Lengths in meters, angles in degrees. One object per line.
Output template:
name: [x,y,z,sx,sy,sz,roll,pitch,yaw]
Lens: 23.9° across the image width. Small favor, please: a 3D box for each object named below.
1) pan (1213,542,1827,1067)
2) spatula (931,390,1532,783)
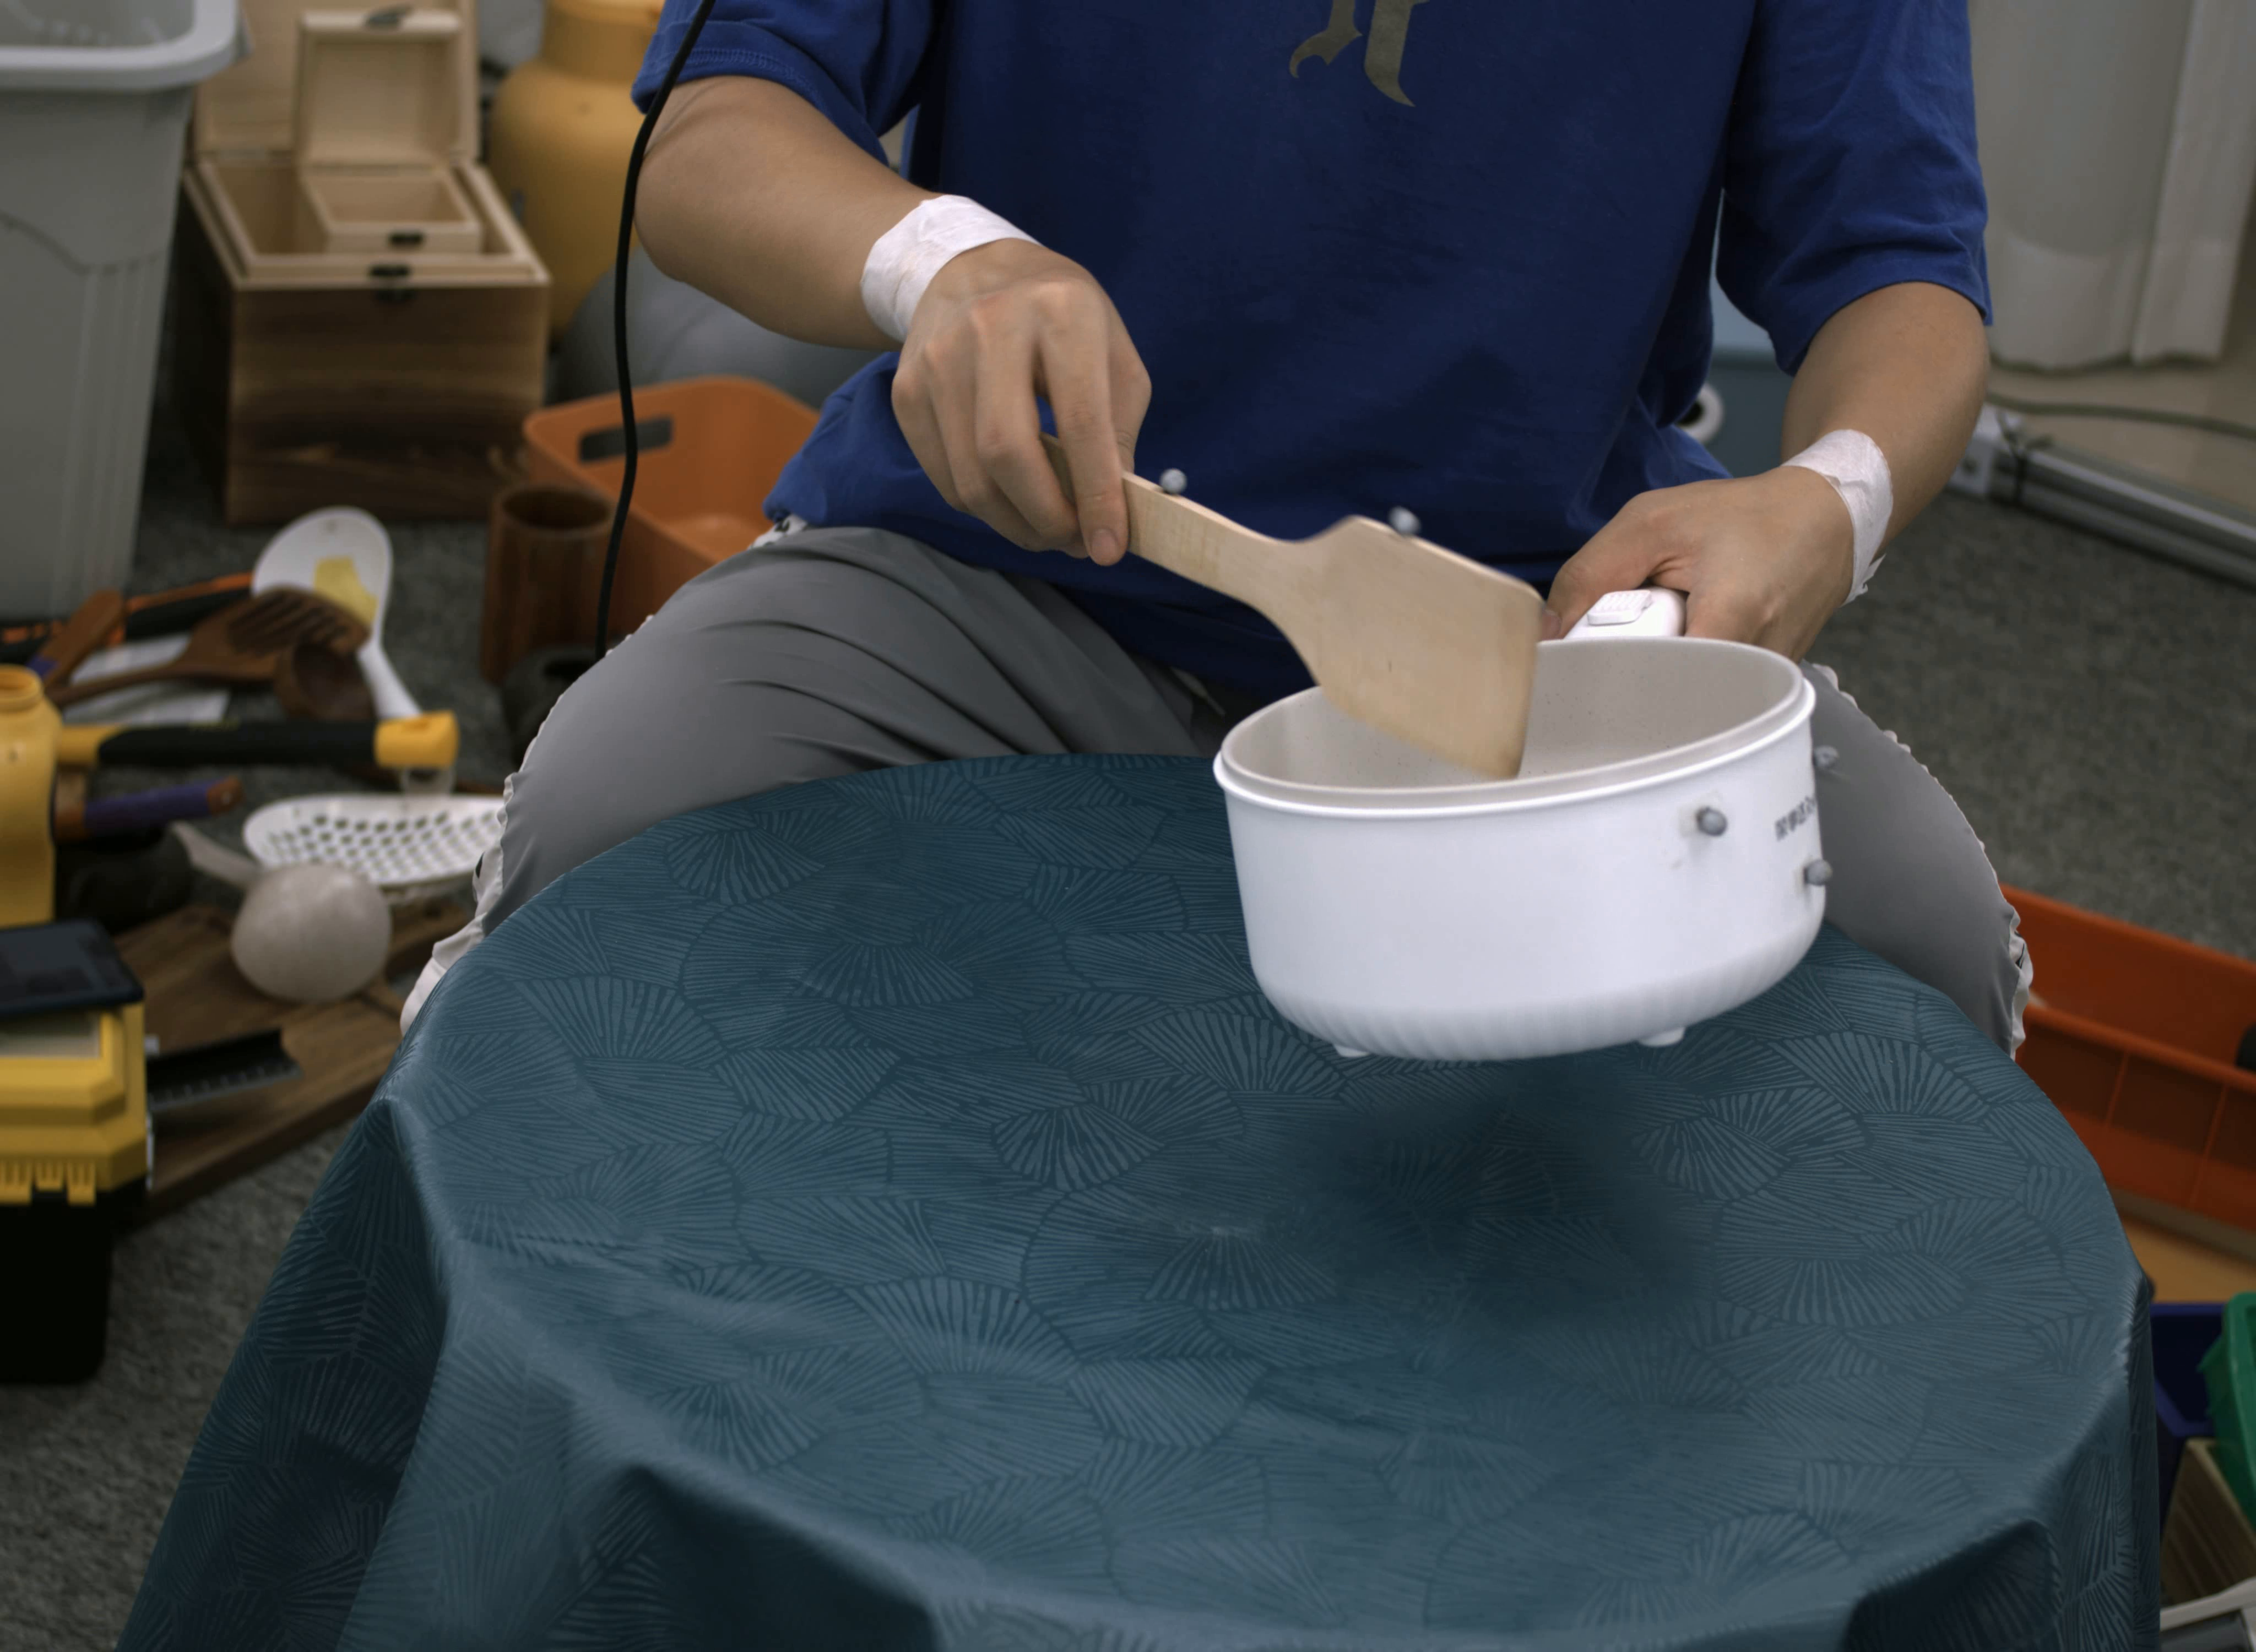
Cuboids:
pan: [0.158,-0.011,1.849,0.201,0.102,0.354,-6,14,20]
spatula: [0.028,-0.096,1.846,0.010,0.072,0.295,-12,29,-42]
